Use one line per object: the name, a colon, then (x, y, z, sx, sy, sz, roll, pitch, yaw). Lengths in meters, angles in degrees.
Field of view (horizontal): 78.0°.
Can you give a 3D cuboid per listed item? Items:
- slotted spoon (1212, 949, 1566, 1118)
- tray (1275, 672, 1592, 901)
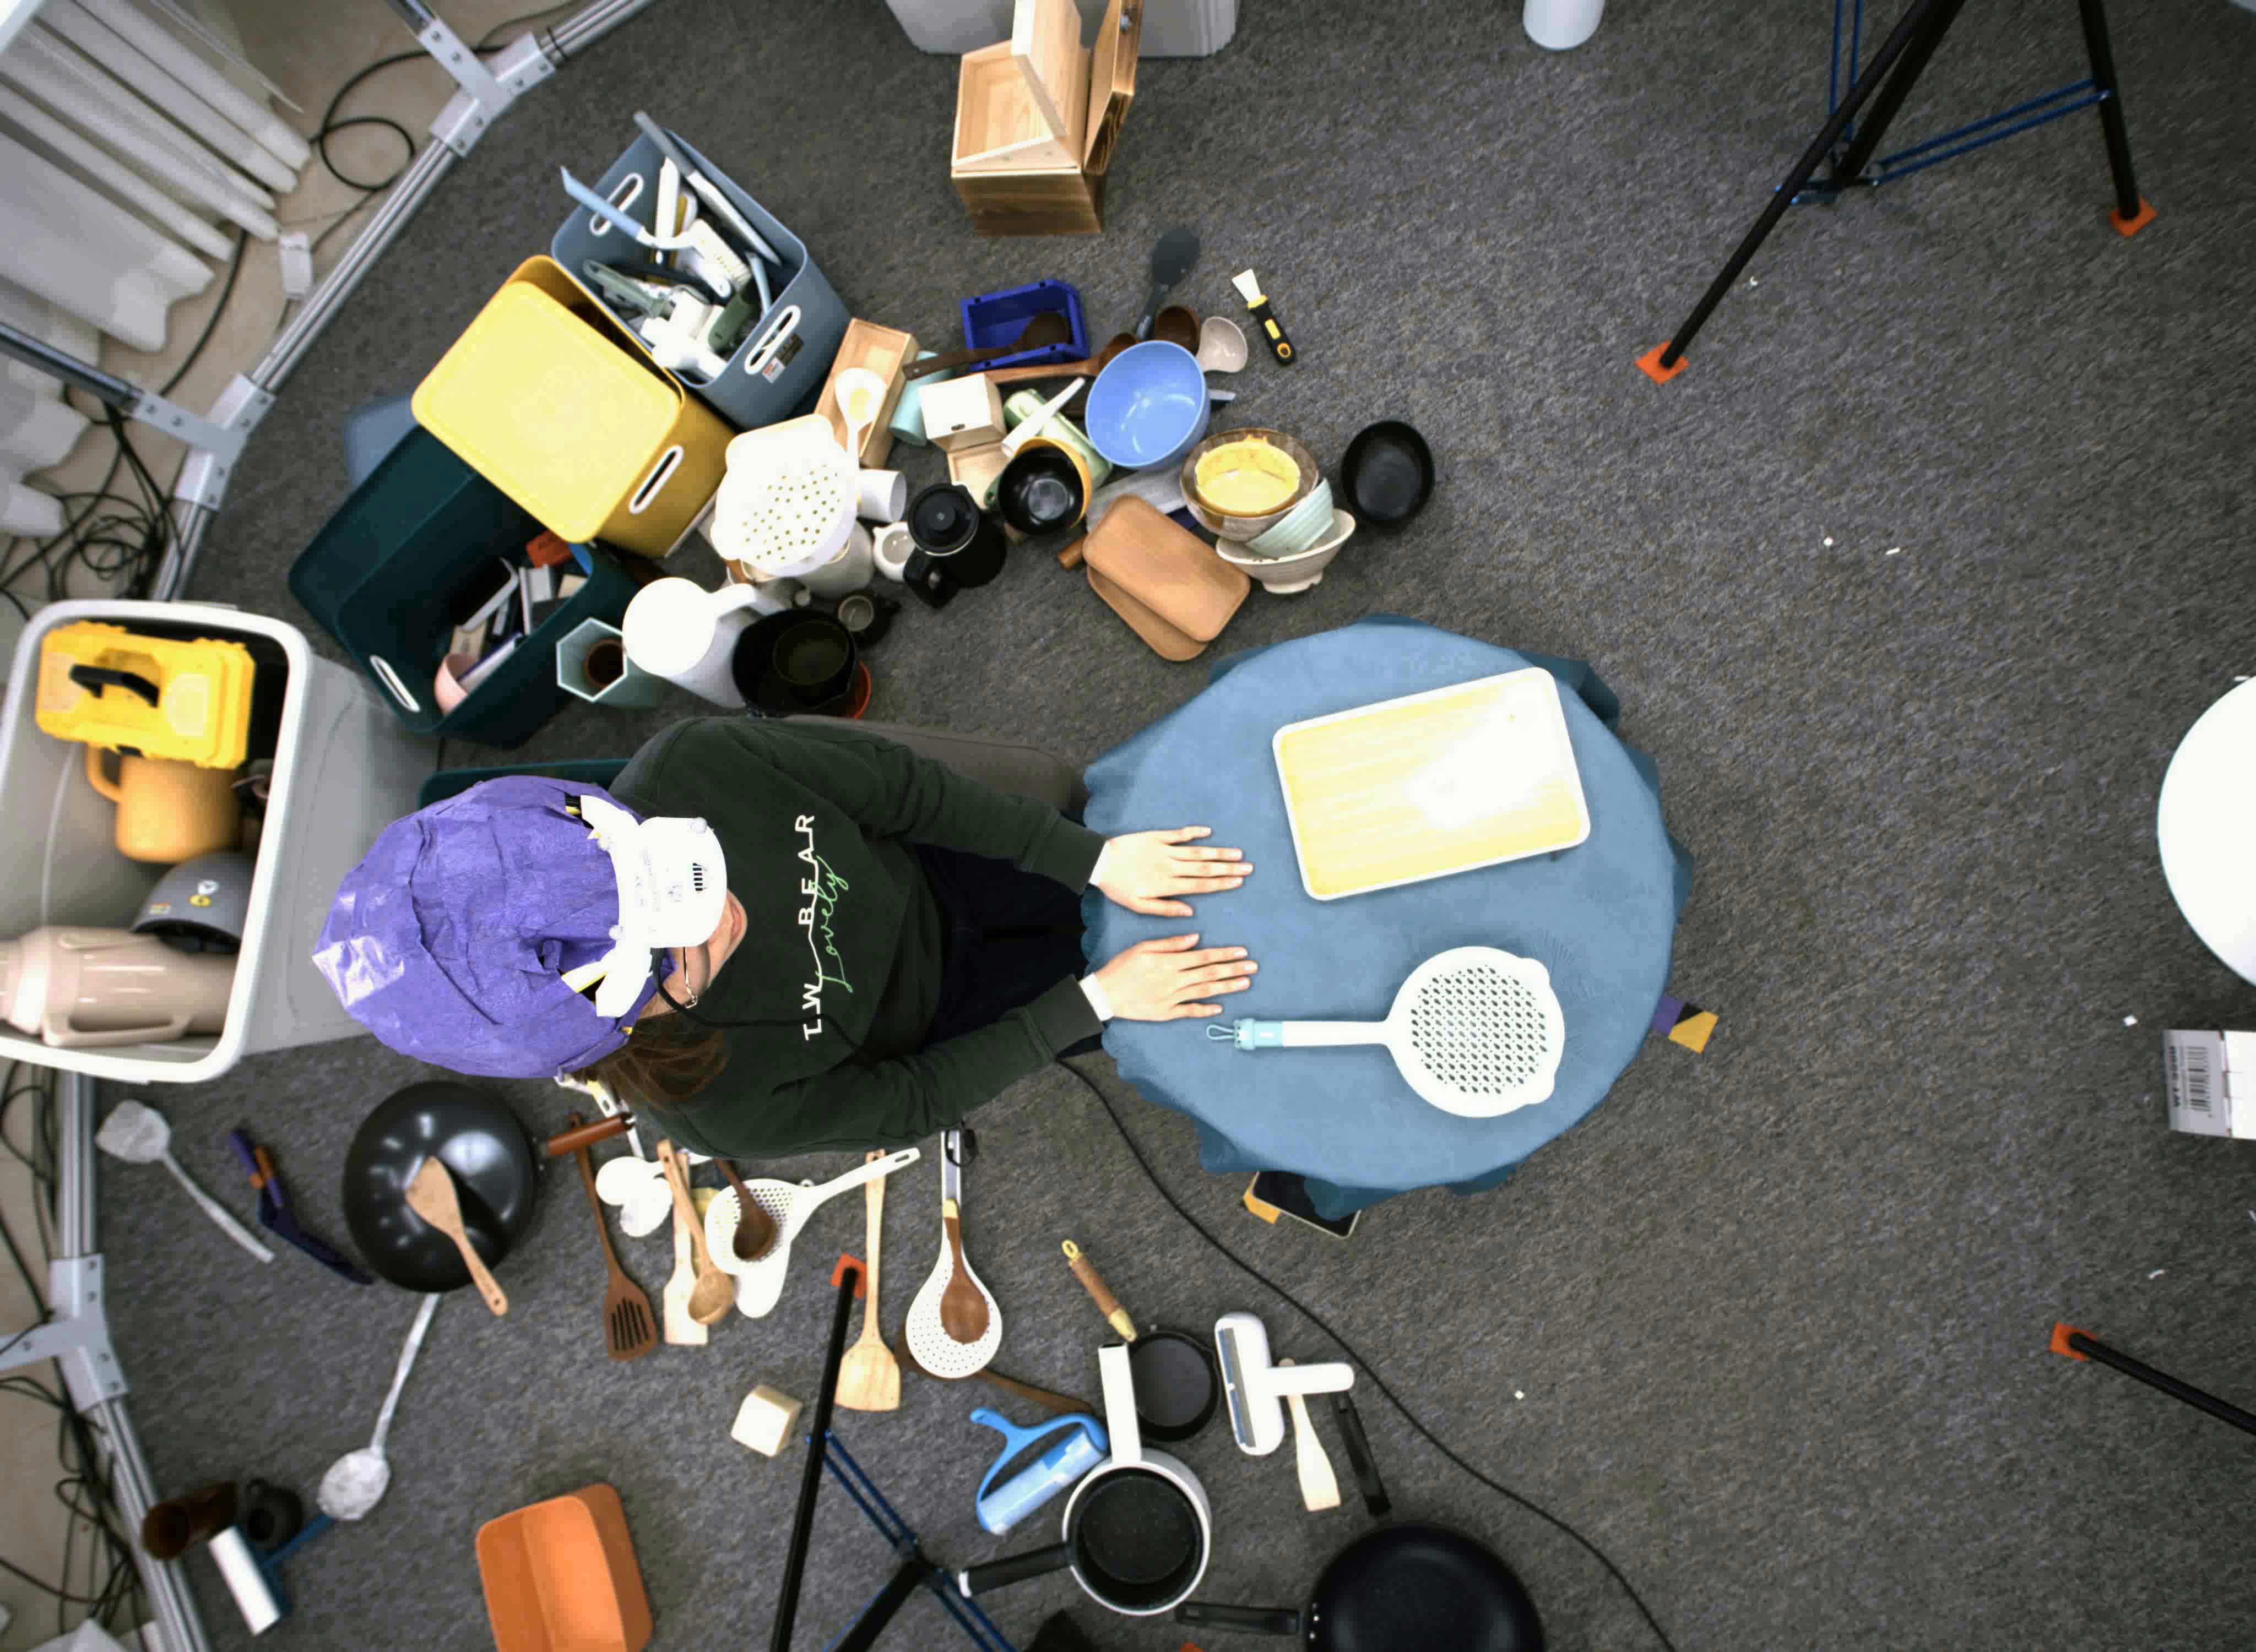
slotted spoon: (0.261, 0.212, 1.424, 0.360, 0.075, 0.168, -2, 85, 10)
tray: (0.319, -0.042, 1.450, 0.302, 0.027, 0.190, -13, 84, 9)
